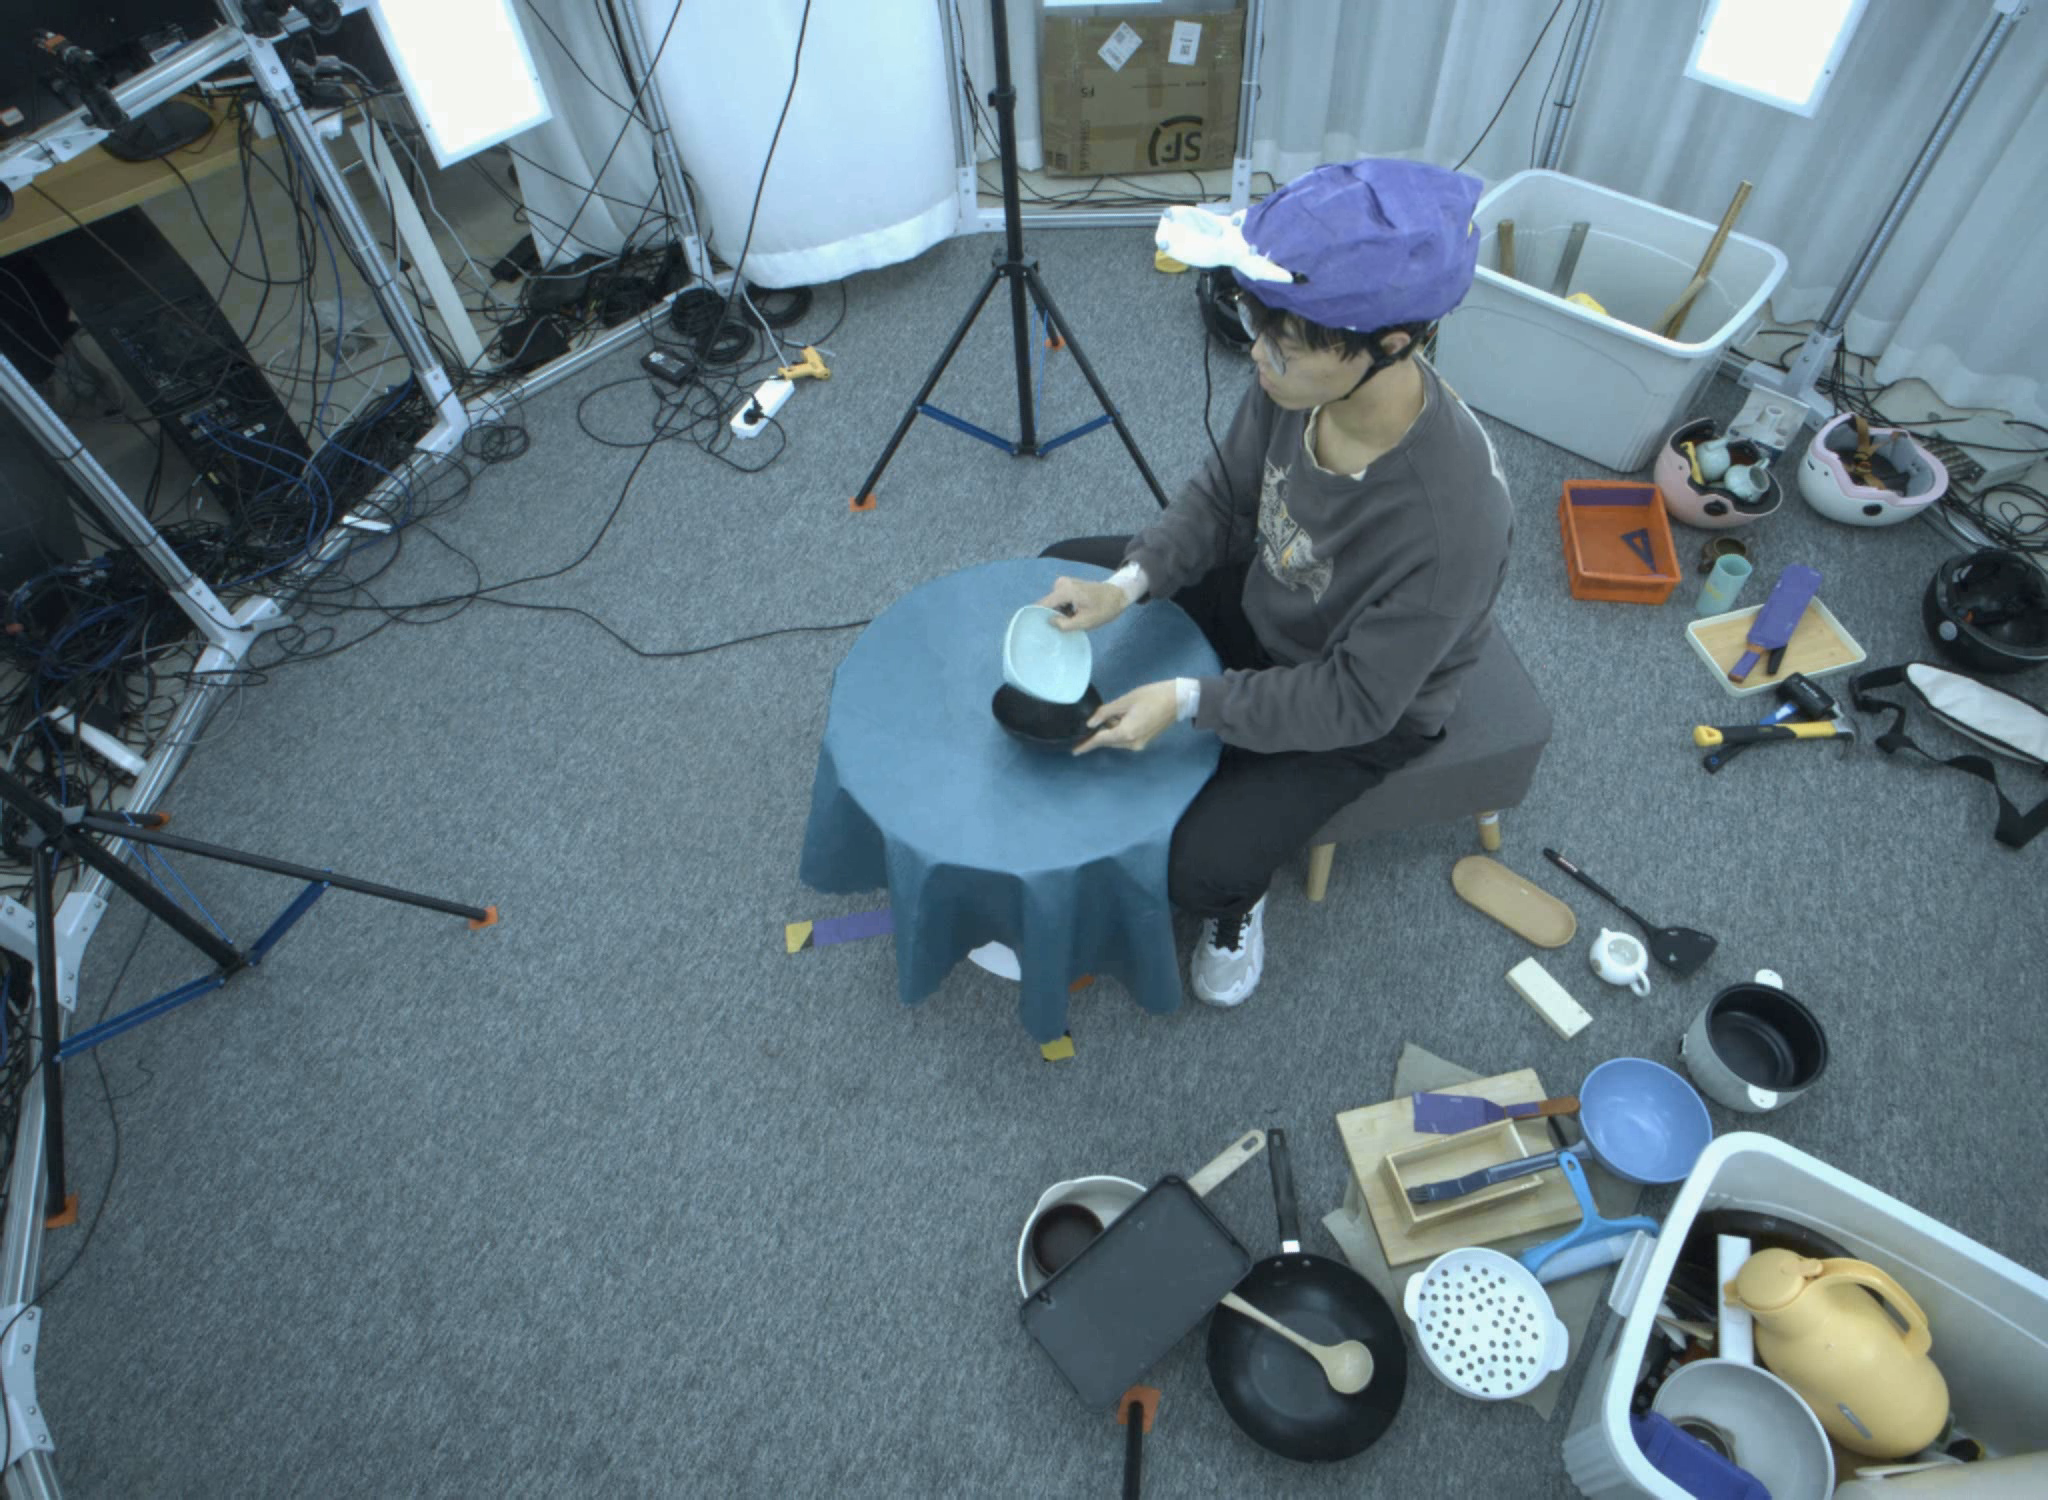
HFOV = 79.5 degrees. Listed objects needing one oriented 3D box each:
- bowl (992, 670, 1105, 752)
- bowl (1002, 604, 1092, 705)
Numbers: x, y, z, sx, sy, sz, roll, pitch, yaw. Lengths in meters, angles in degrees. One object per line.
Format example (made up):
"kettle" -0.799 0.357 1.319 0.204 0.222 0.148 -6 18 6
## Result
"bowl" 0.035 -0.045 1.770 0.168 0.067 0.137 17 53 18
"bowl" 0.022 -0.128 1.738 0.155 0.058 0.150 10 72 -32
